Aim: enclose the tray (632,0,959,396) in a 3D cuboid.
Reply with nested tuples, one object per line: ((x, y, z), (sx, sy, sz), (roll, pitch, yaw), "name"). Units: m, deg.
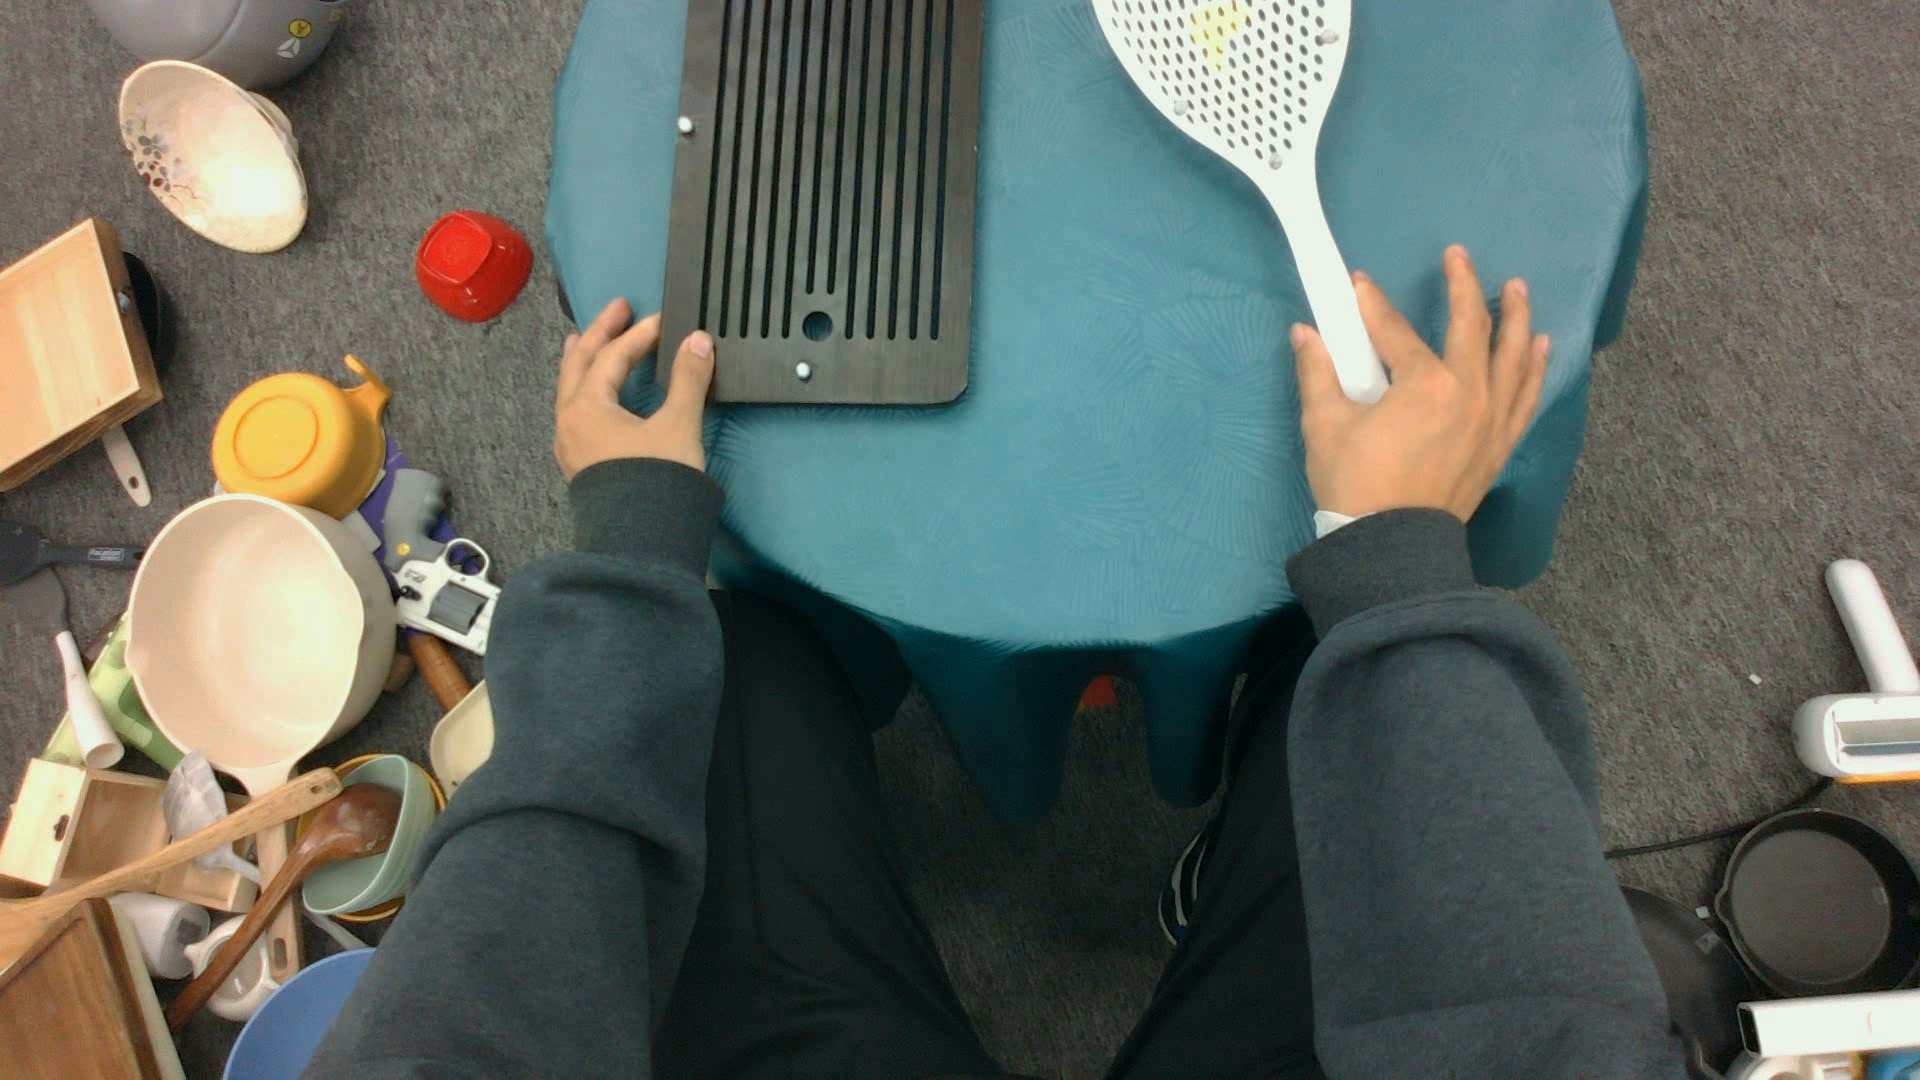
((-0.087, -0.226, 0.768), (0.170, 0.018, 0.306), (1, 77, 5), "tray")

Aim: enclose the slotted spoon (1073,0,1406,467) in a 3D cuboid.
((0.161, -0.201, 0.728), (0.137, 0.050, 0.348), (-18, 76, 0), "slotted spoon")
